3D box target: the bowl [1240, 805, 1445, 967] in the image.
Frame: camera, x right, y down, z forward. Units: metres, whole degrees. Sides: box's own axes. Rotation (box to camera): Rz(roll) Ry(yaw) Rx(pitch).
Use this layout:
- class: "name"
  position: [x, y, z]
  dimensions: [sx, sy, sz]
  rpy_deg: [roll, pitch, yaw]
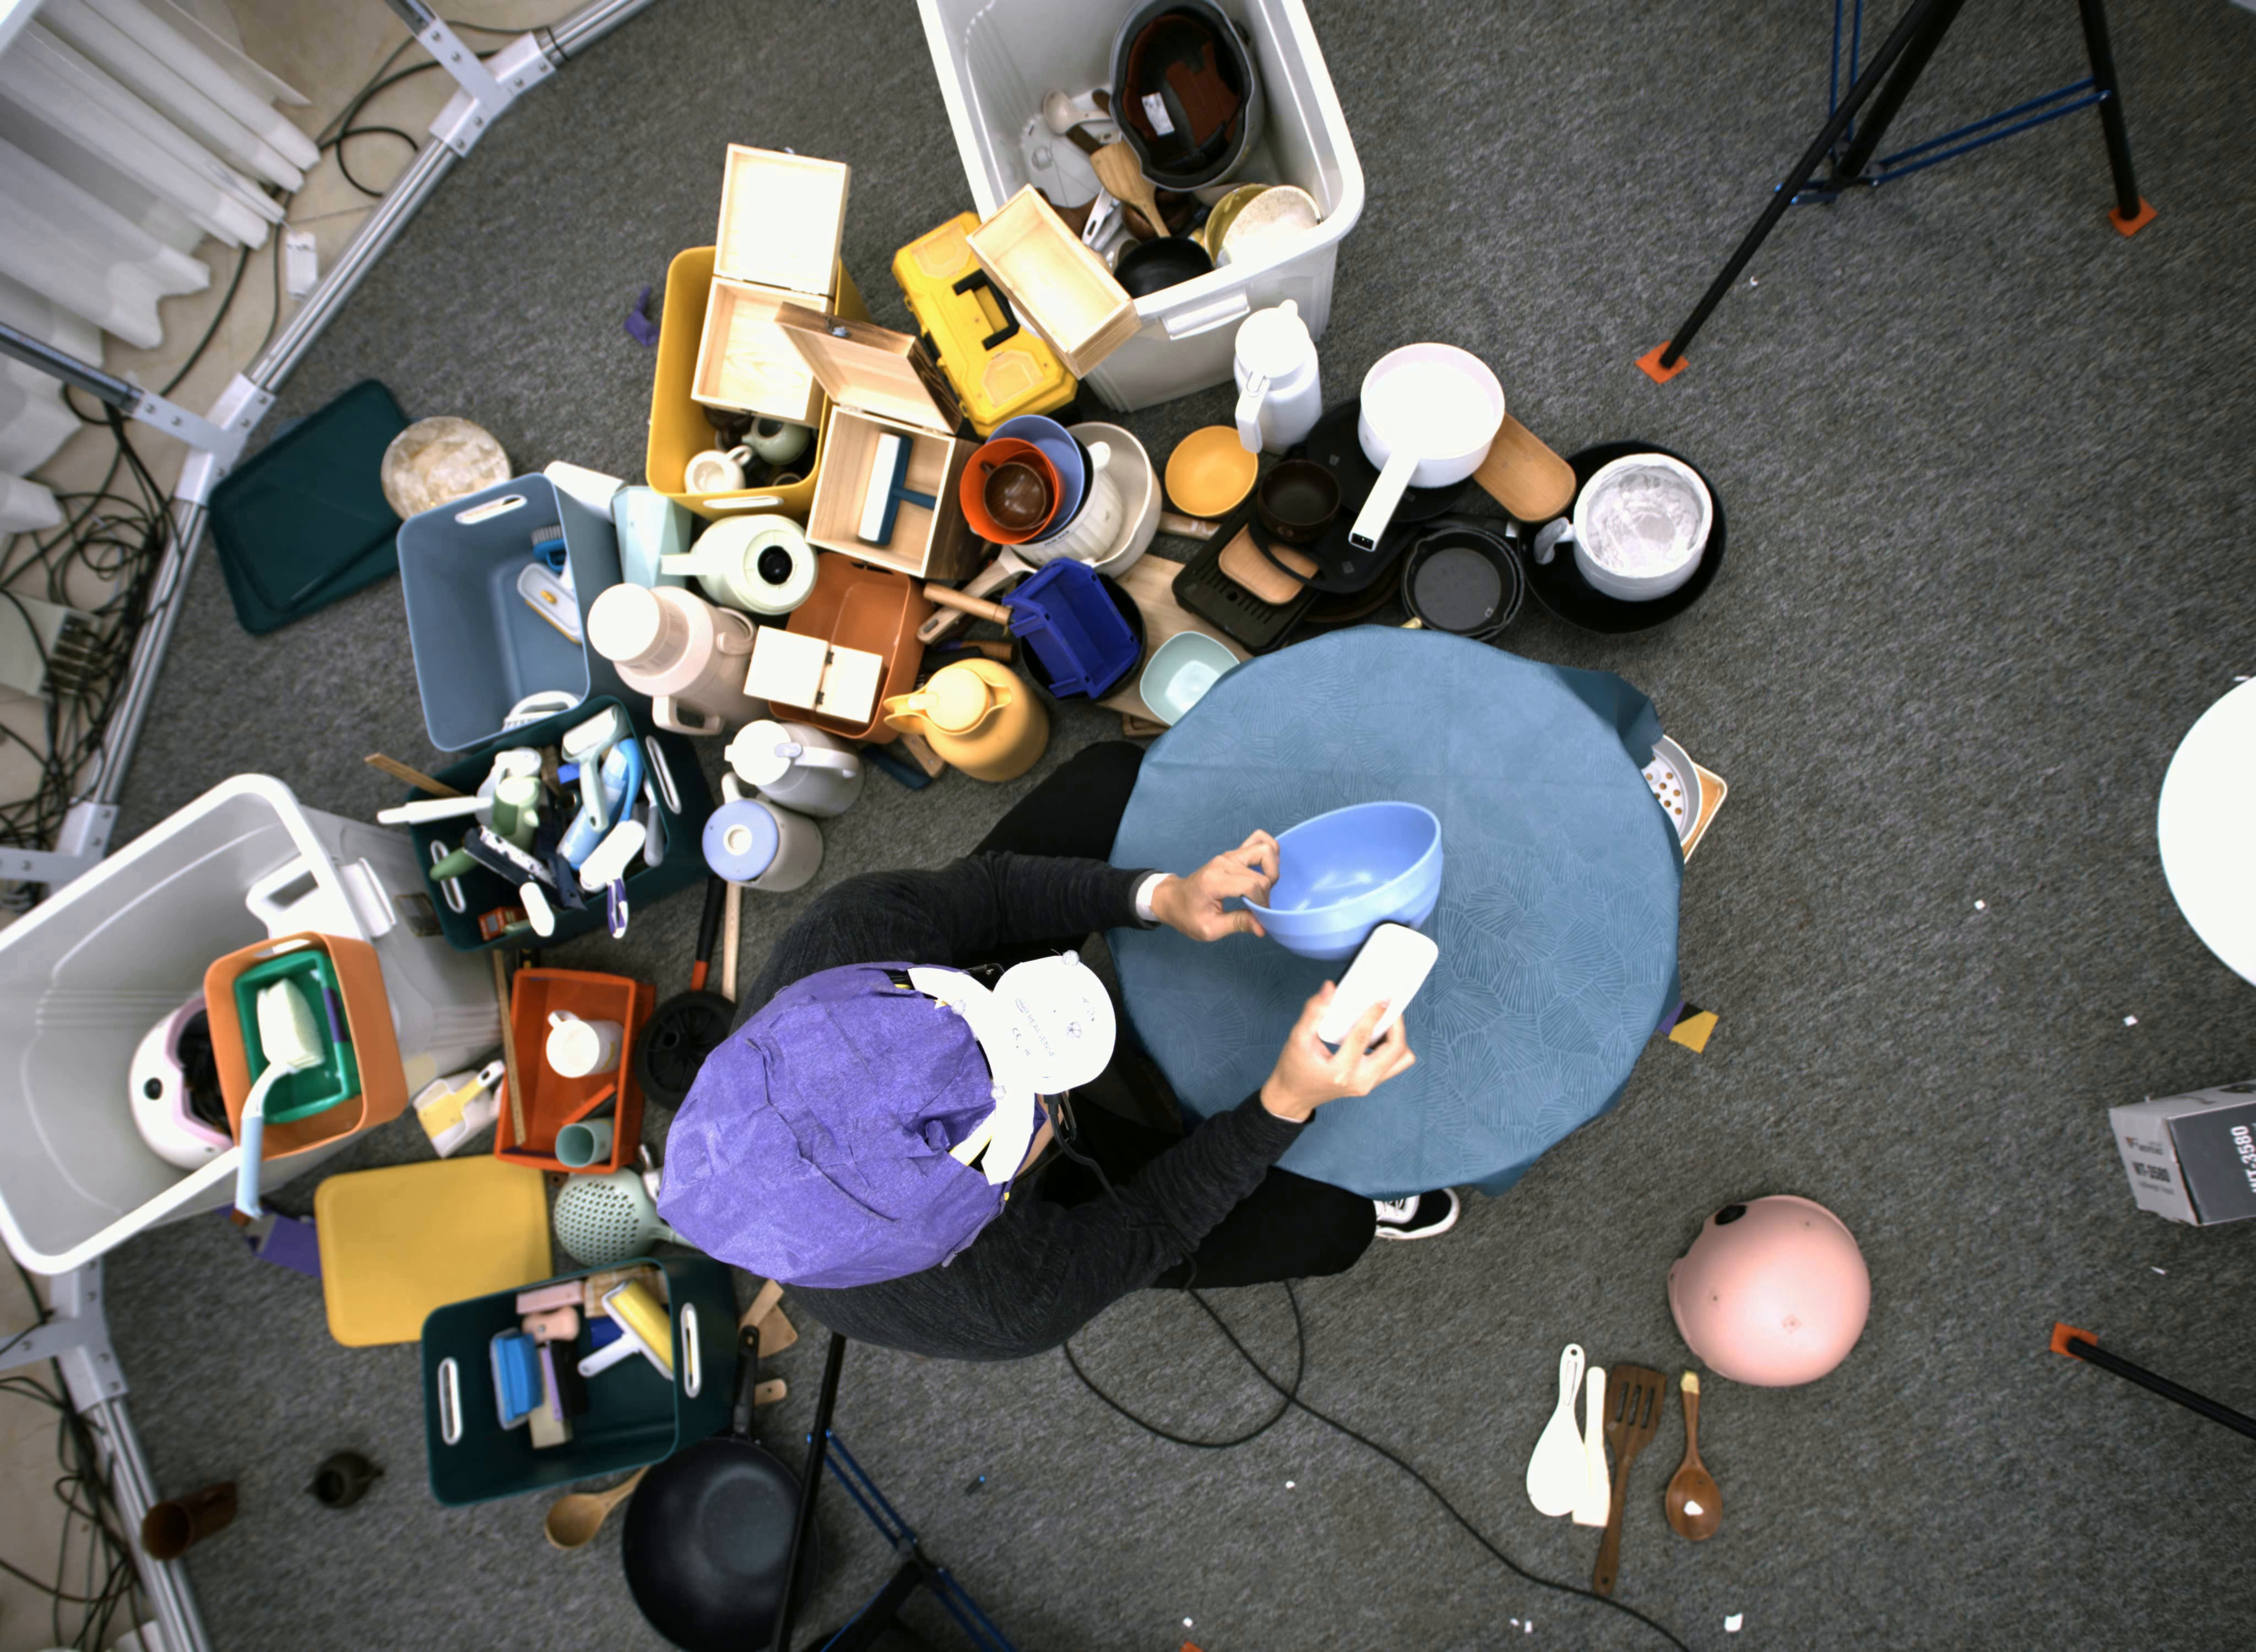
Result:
- class: "bowl"
  position: [0.213, 0.068, 1.307]
  dimensions: [0.197, 0.192, 0.097]
  rpy_deg: [-20, 113, 8]

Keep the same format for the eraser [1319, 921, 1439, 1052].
- class: "eraser"
  position: [0.223, 0.145, 1.242]
  dimensions: [0.063, 0.034, 0.134]
  rpy_deg: [18, 118, -22]
